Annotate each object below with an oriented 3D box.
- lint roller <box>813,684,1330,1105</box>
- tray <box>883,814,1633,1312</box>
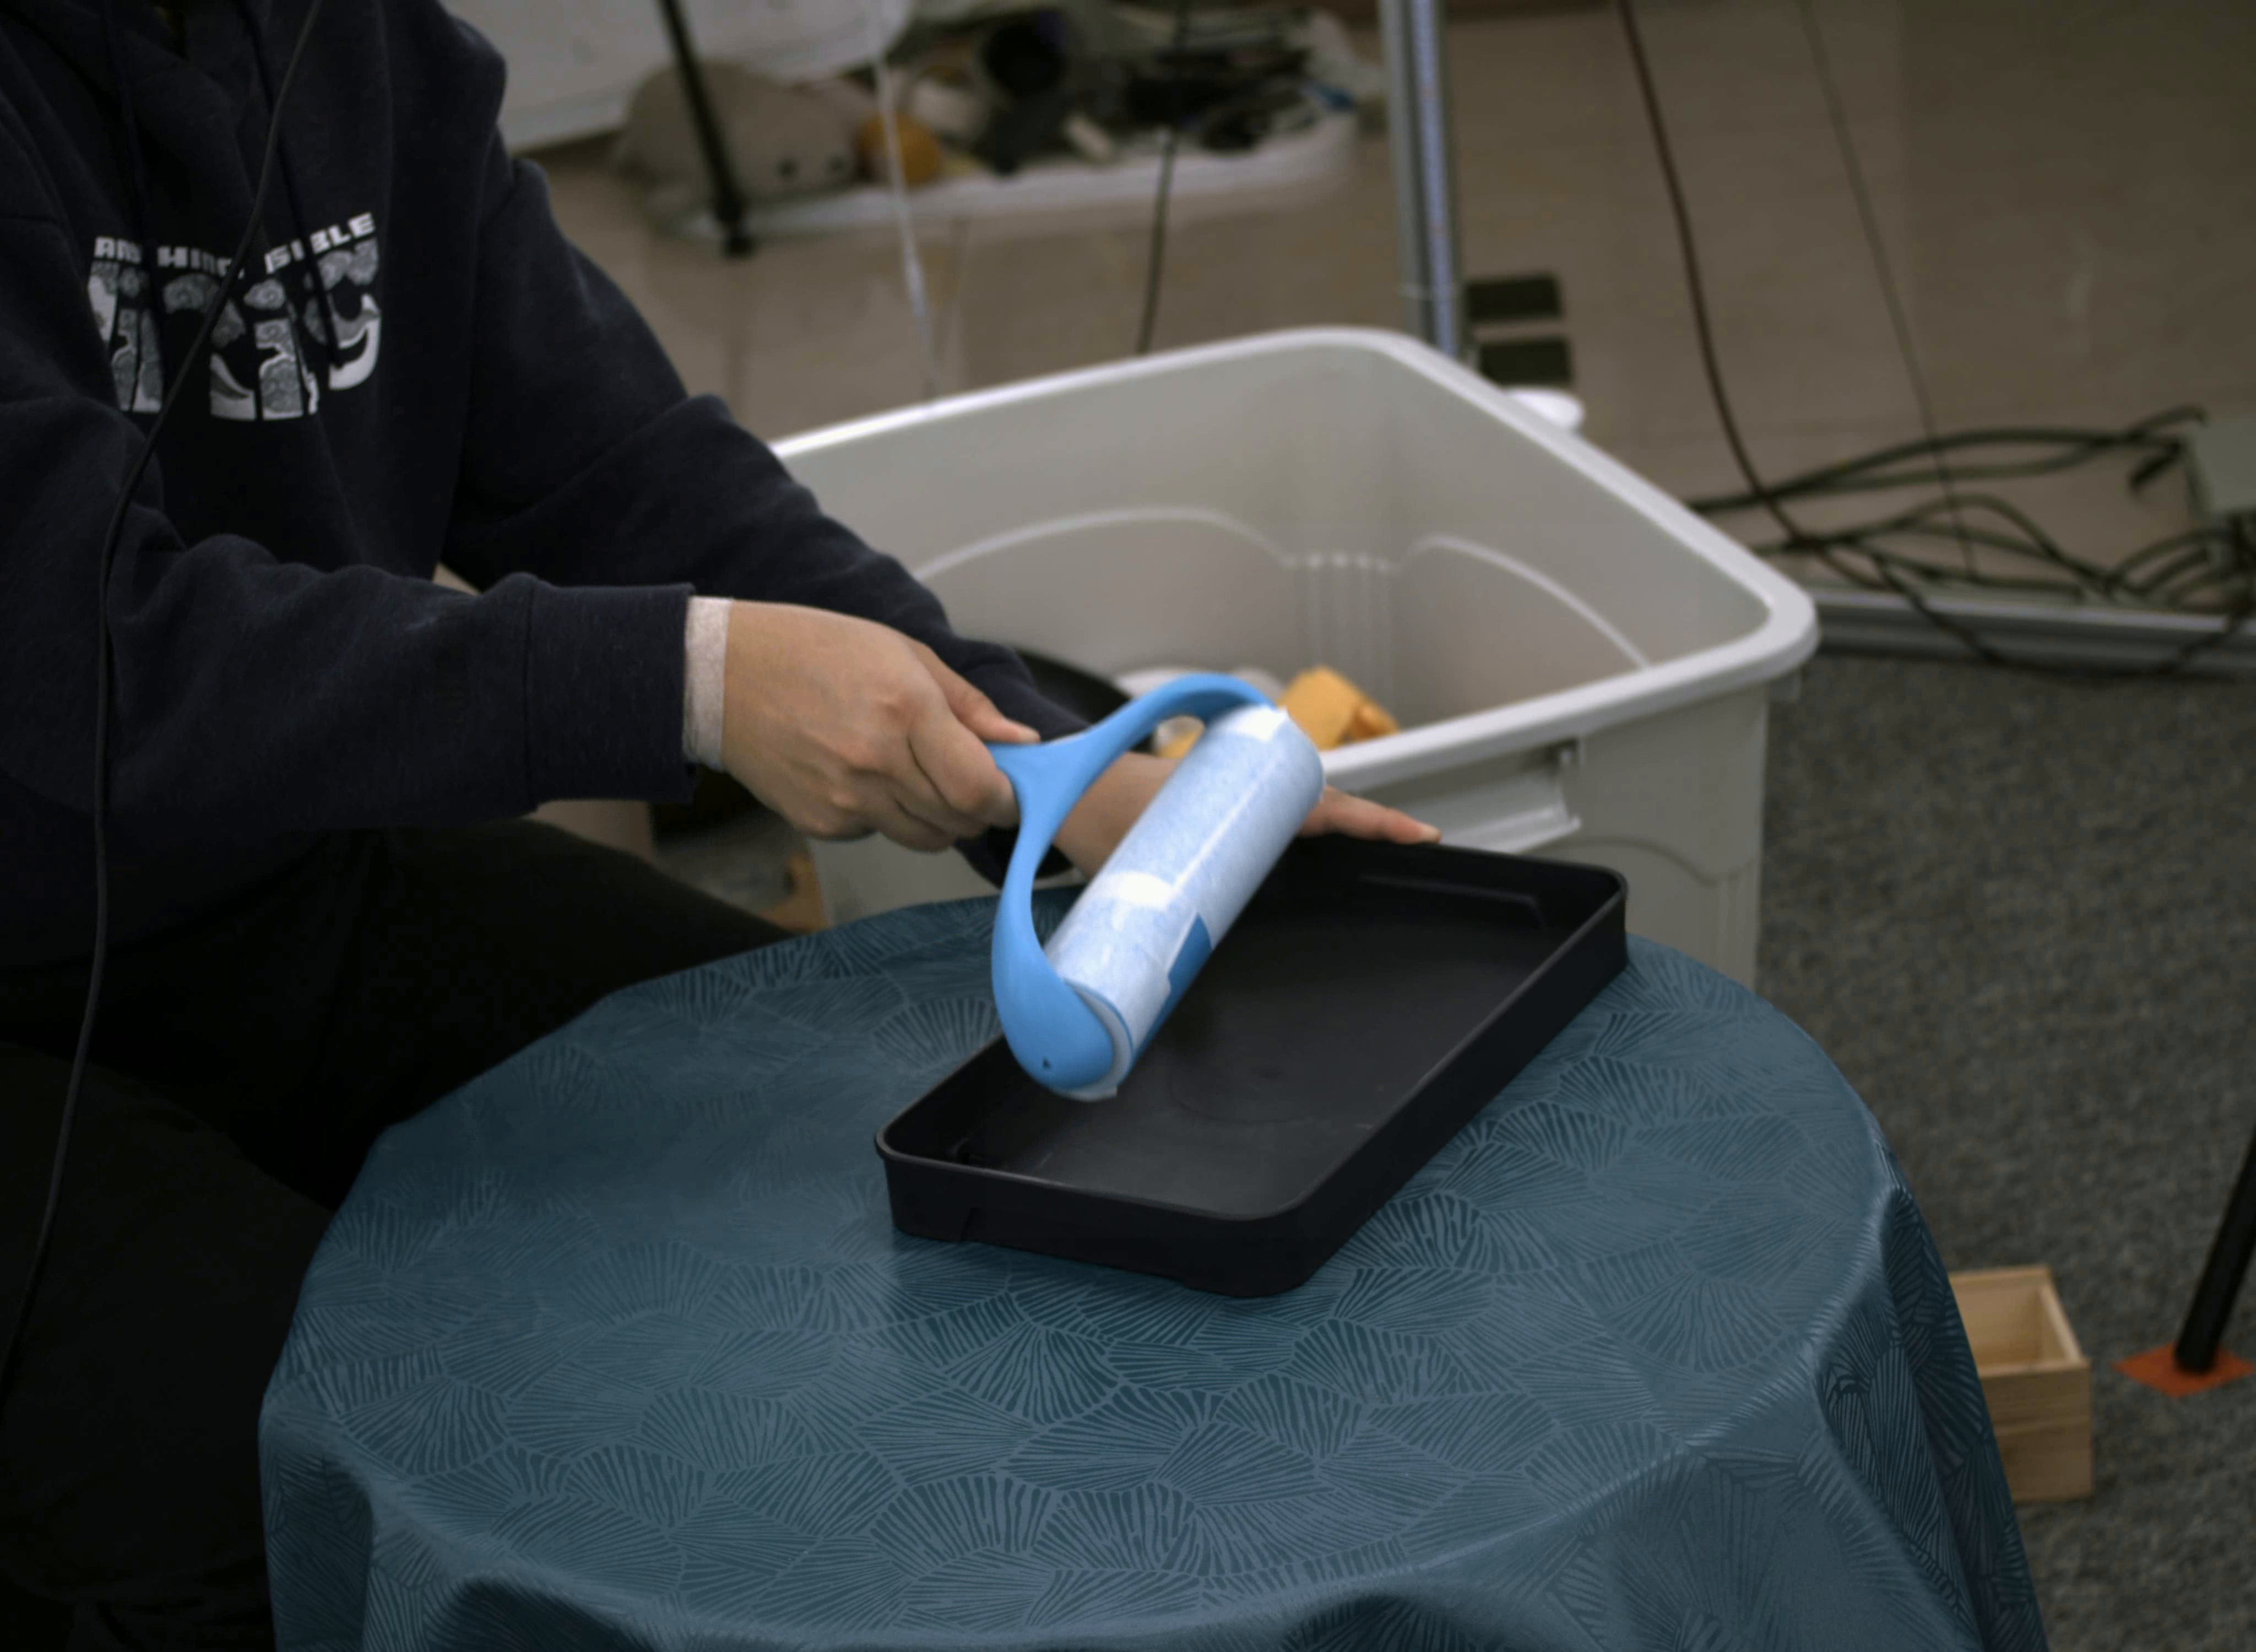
[{"bbox_3d":[-0.036,0.004,2.171,0.180,0.069,0.225,26,44,7],"label":"lint roller"},{"bbox_3d":[0.057,0.086,2.214,0.183,0.037,0.314,8,30,29],"label":"tray"}]
